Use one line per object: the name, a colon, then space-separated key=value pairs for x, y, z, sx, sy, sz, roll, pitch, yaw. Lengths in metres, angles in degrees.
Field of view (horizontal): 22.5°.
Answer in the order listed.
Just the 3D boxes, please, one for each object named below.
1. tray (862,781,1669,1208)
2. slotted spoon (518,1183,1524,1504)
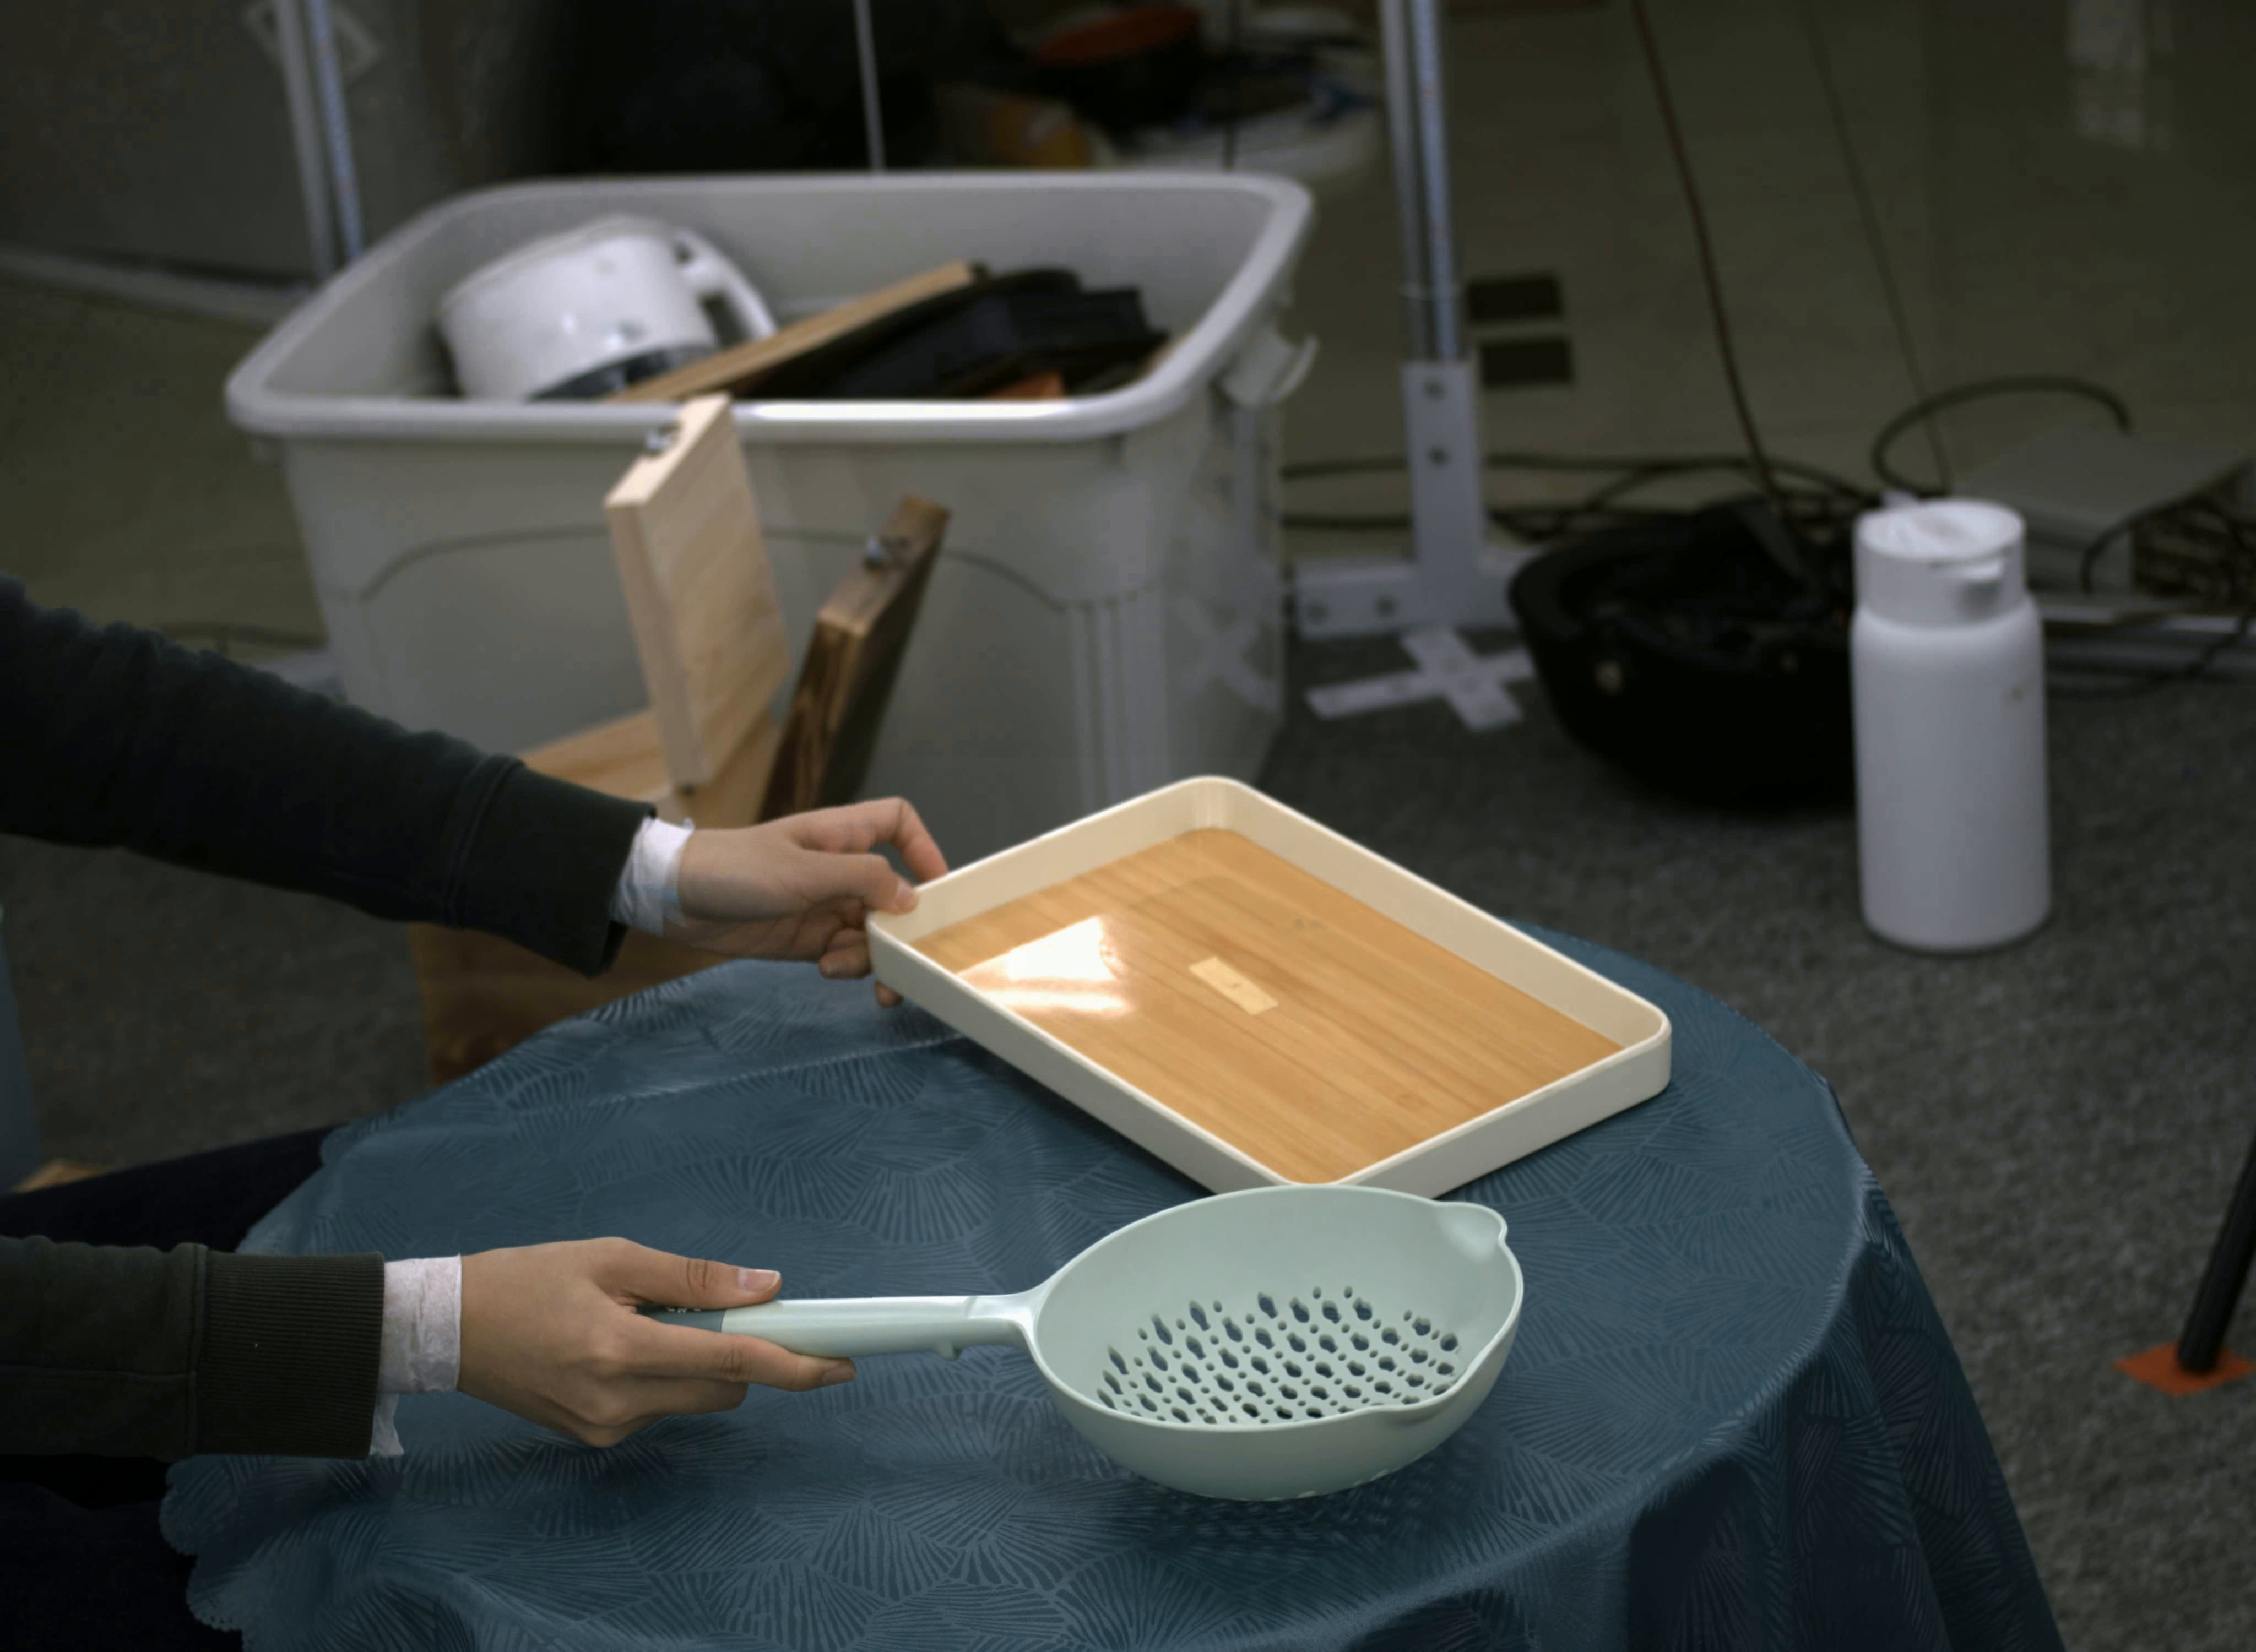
tray: x=0.051 y=0.069 z=2.236 sx=0.190 sy=0.028 sz=0.297 roll=-22 pitch=33 yaw=-31
slotted spoon: x=-0.042 y=0.178 z=1.977 sx=0.358 sy=0.076 sz=0.167 roll=6 pitch=26 yaw=10
